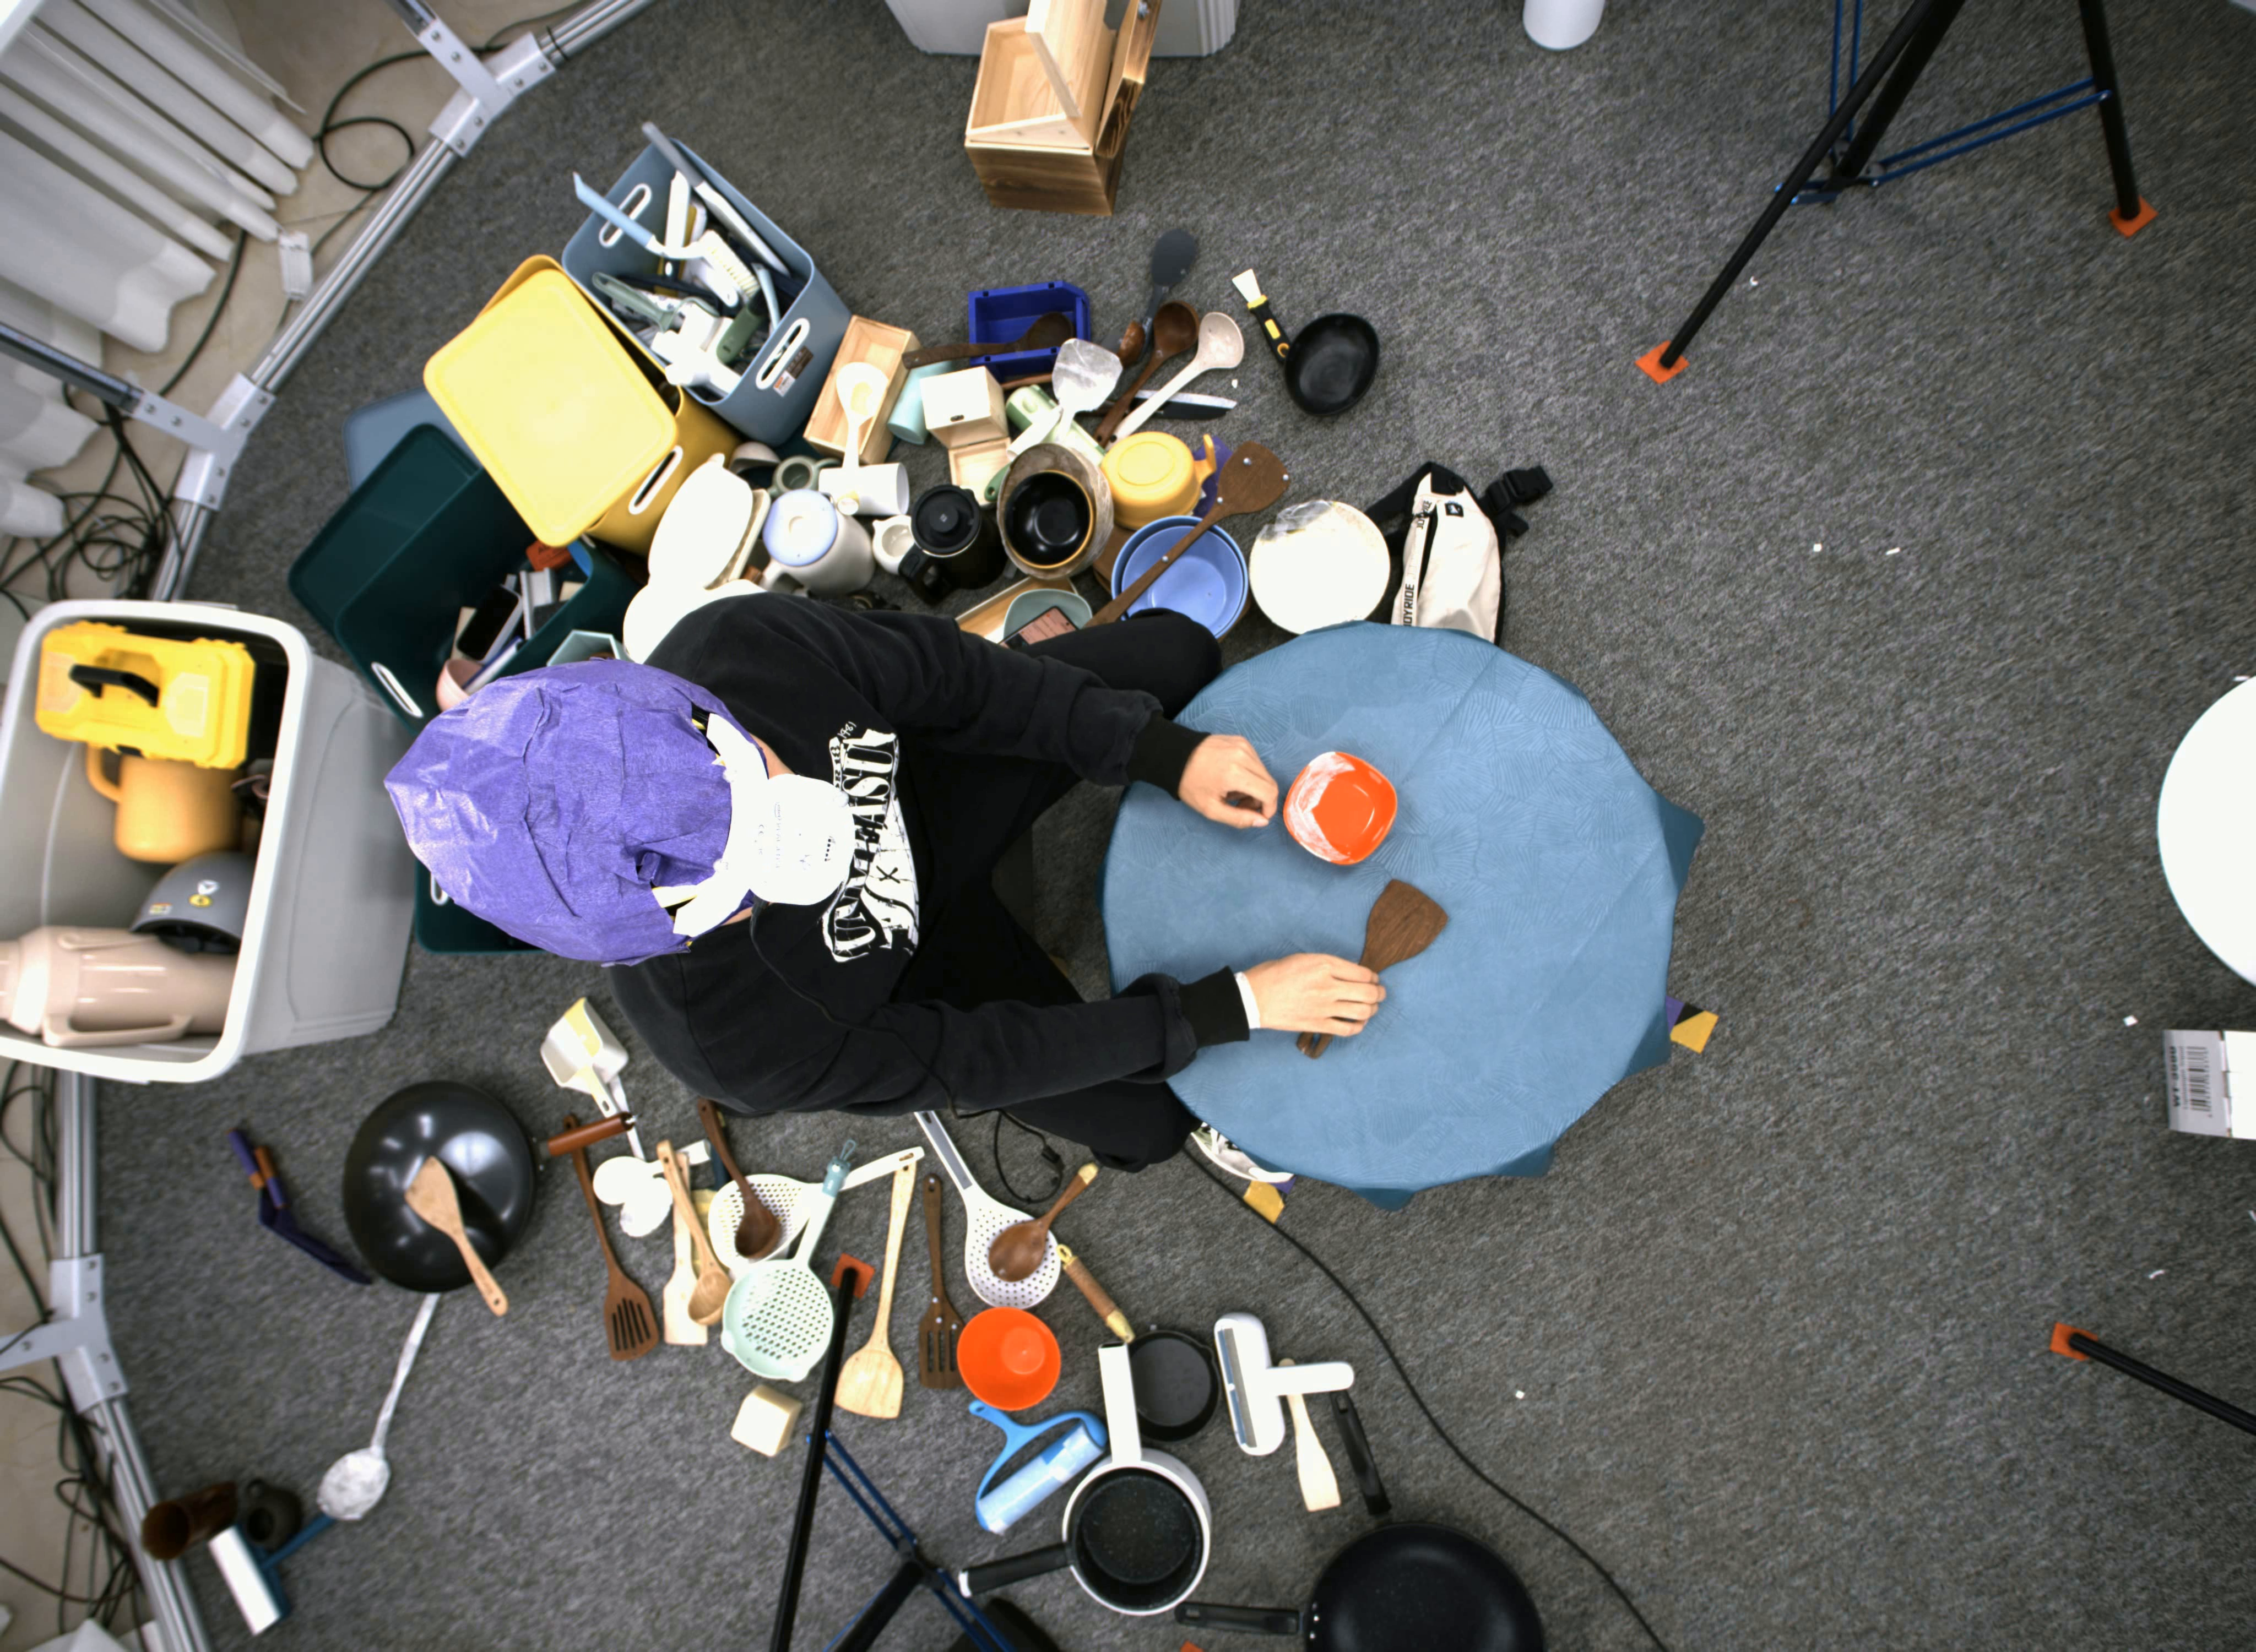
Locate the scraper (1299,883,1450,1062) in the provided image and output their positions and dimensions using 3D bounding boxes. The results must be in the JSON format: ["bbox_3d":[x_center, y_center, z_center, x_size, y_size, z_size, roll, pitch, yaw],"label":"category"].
[{"bbox_3d":[0.251,0.158,1.458,0.075,0.011,0.212,37,93,12],"label":"scraper"}]

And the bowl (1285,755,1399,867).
[{"bbox_3d":[0.225,-0.014,1.454,0.119,0.051,0.118,-1,86,9],"label":"bowl"}]
